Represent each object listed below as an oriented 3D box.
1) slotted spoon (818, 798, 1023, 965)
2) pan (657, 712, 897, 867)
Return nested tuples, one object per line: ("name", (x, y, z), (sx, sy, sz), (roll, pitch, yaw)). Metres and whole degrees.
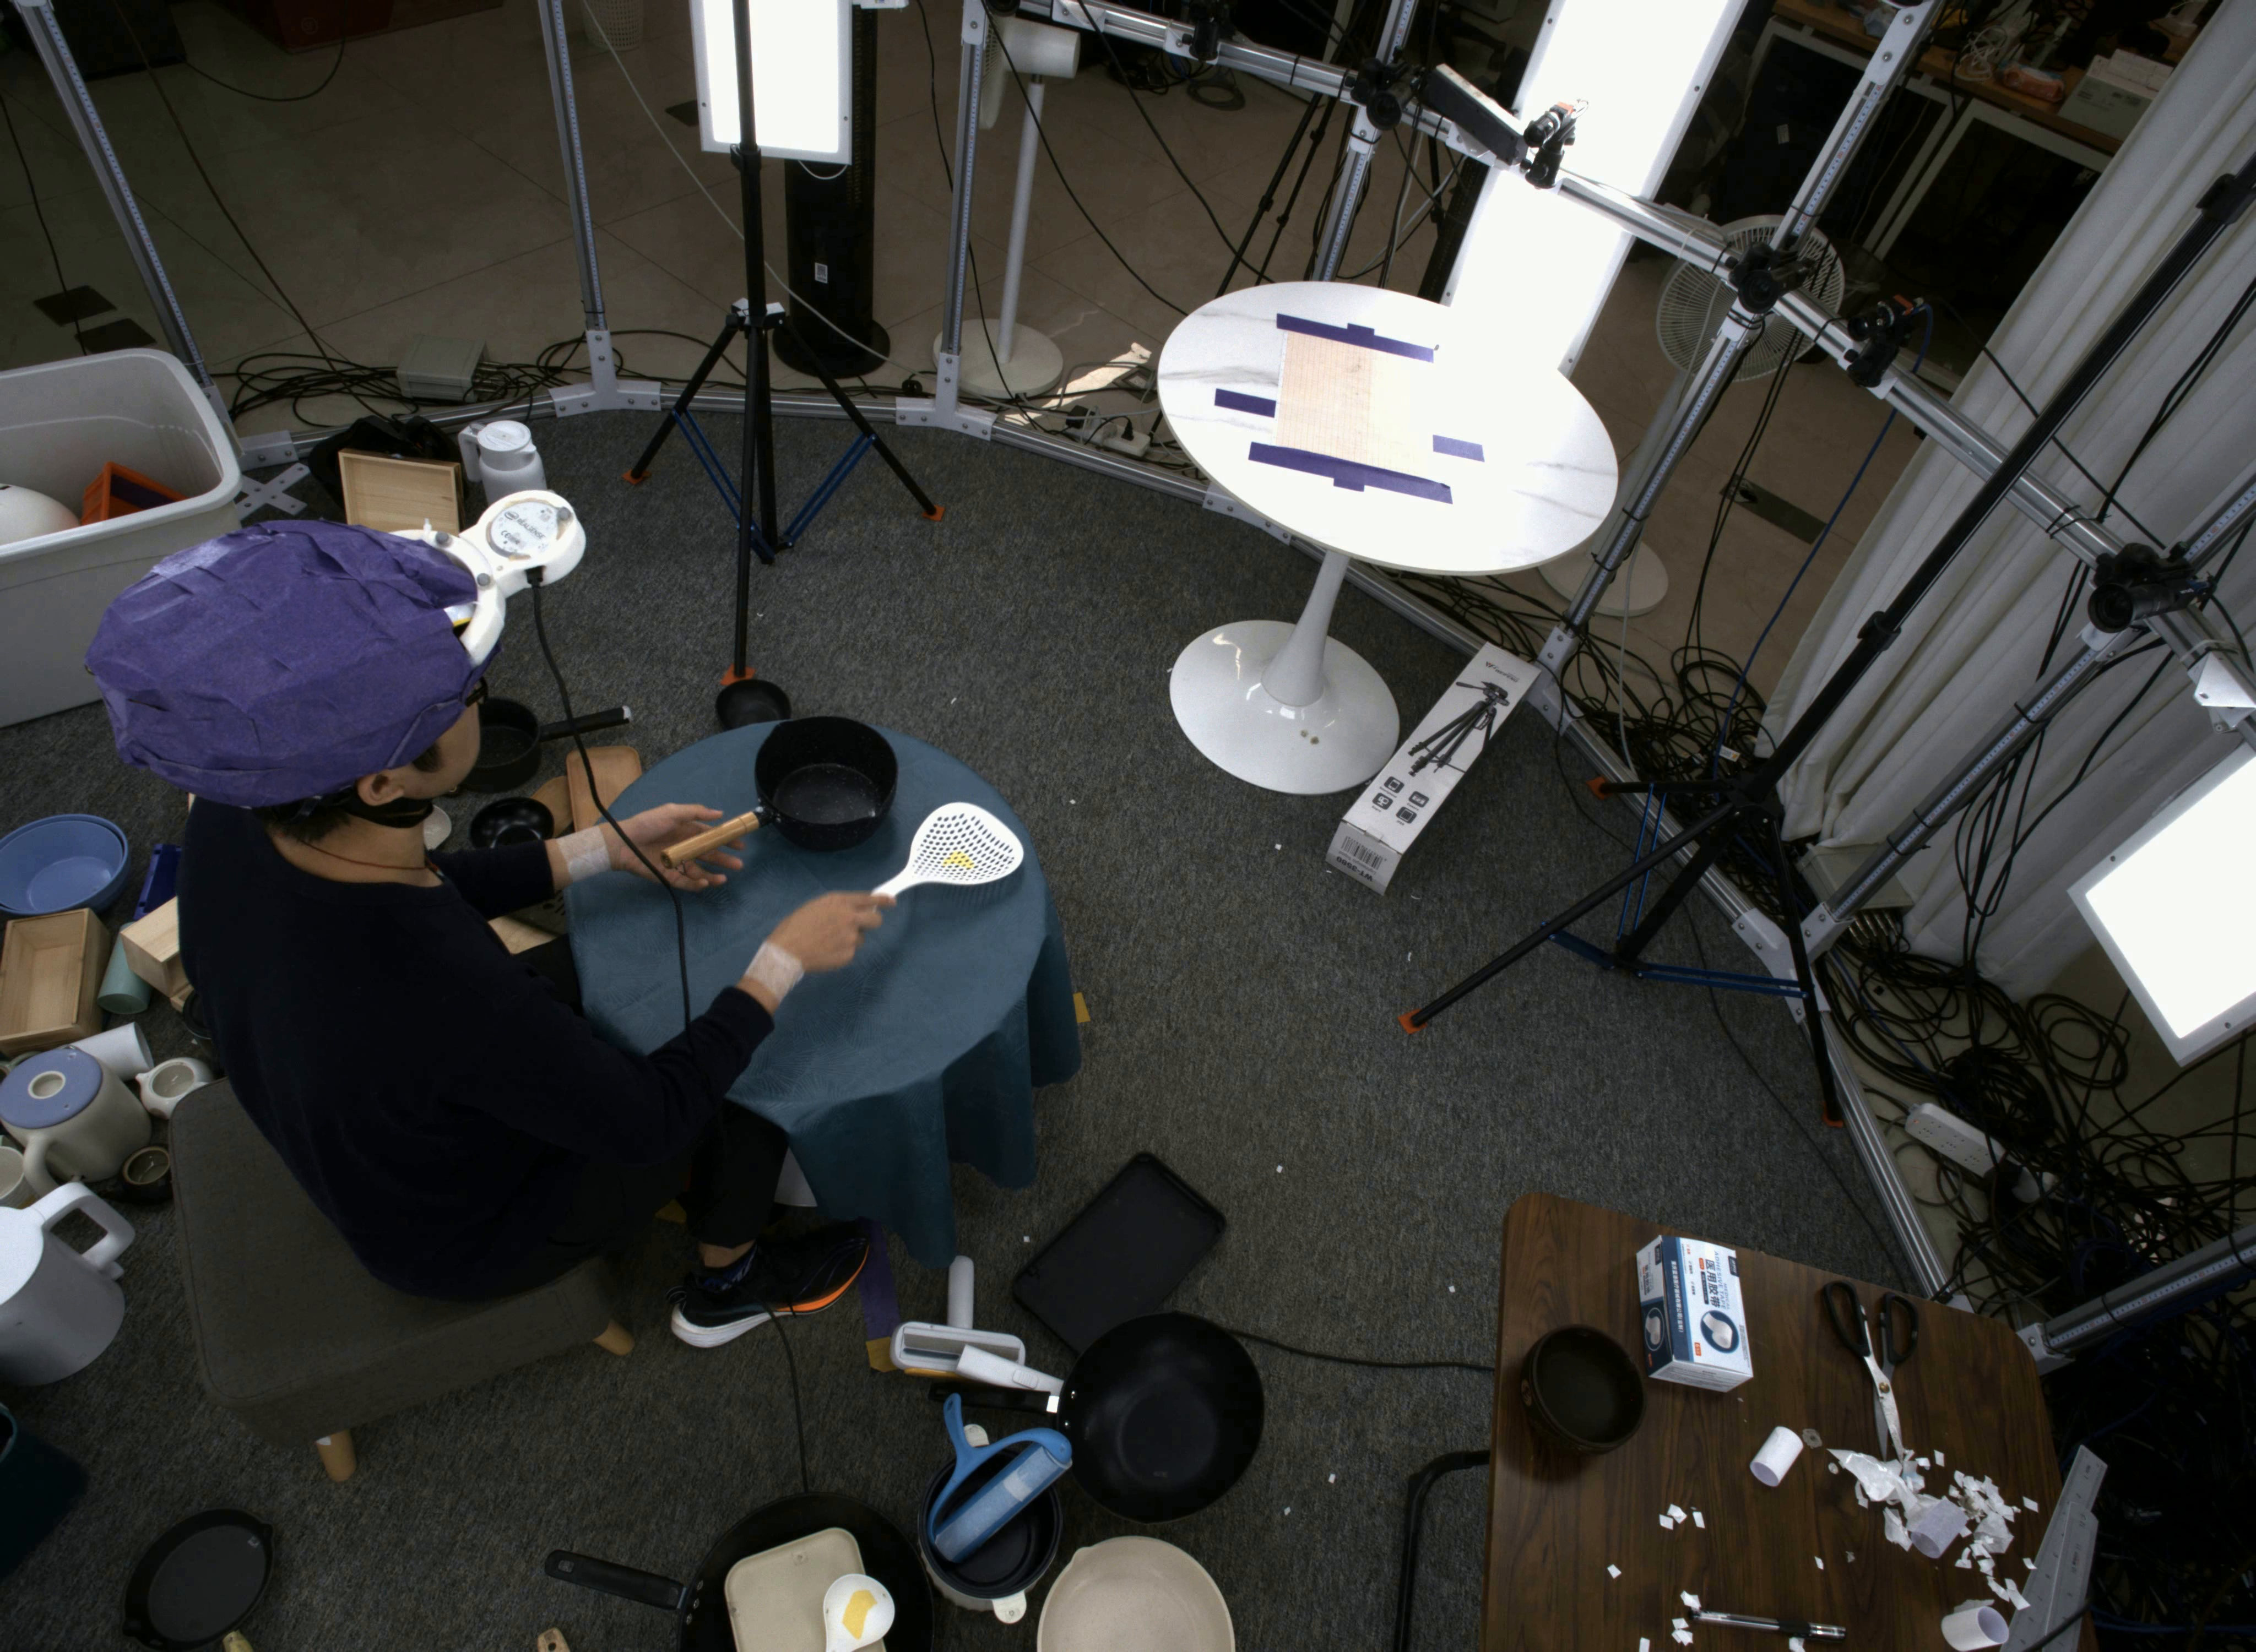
("slotted spoon", (-0.268, 0.071, 1.638), (0.135, 0.051, 0.349), (41, 38, 9))
("pan", (-0.448, -0.018, 1.651), (0.203, 0.110, 0.343), (40, 53, 15))
